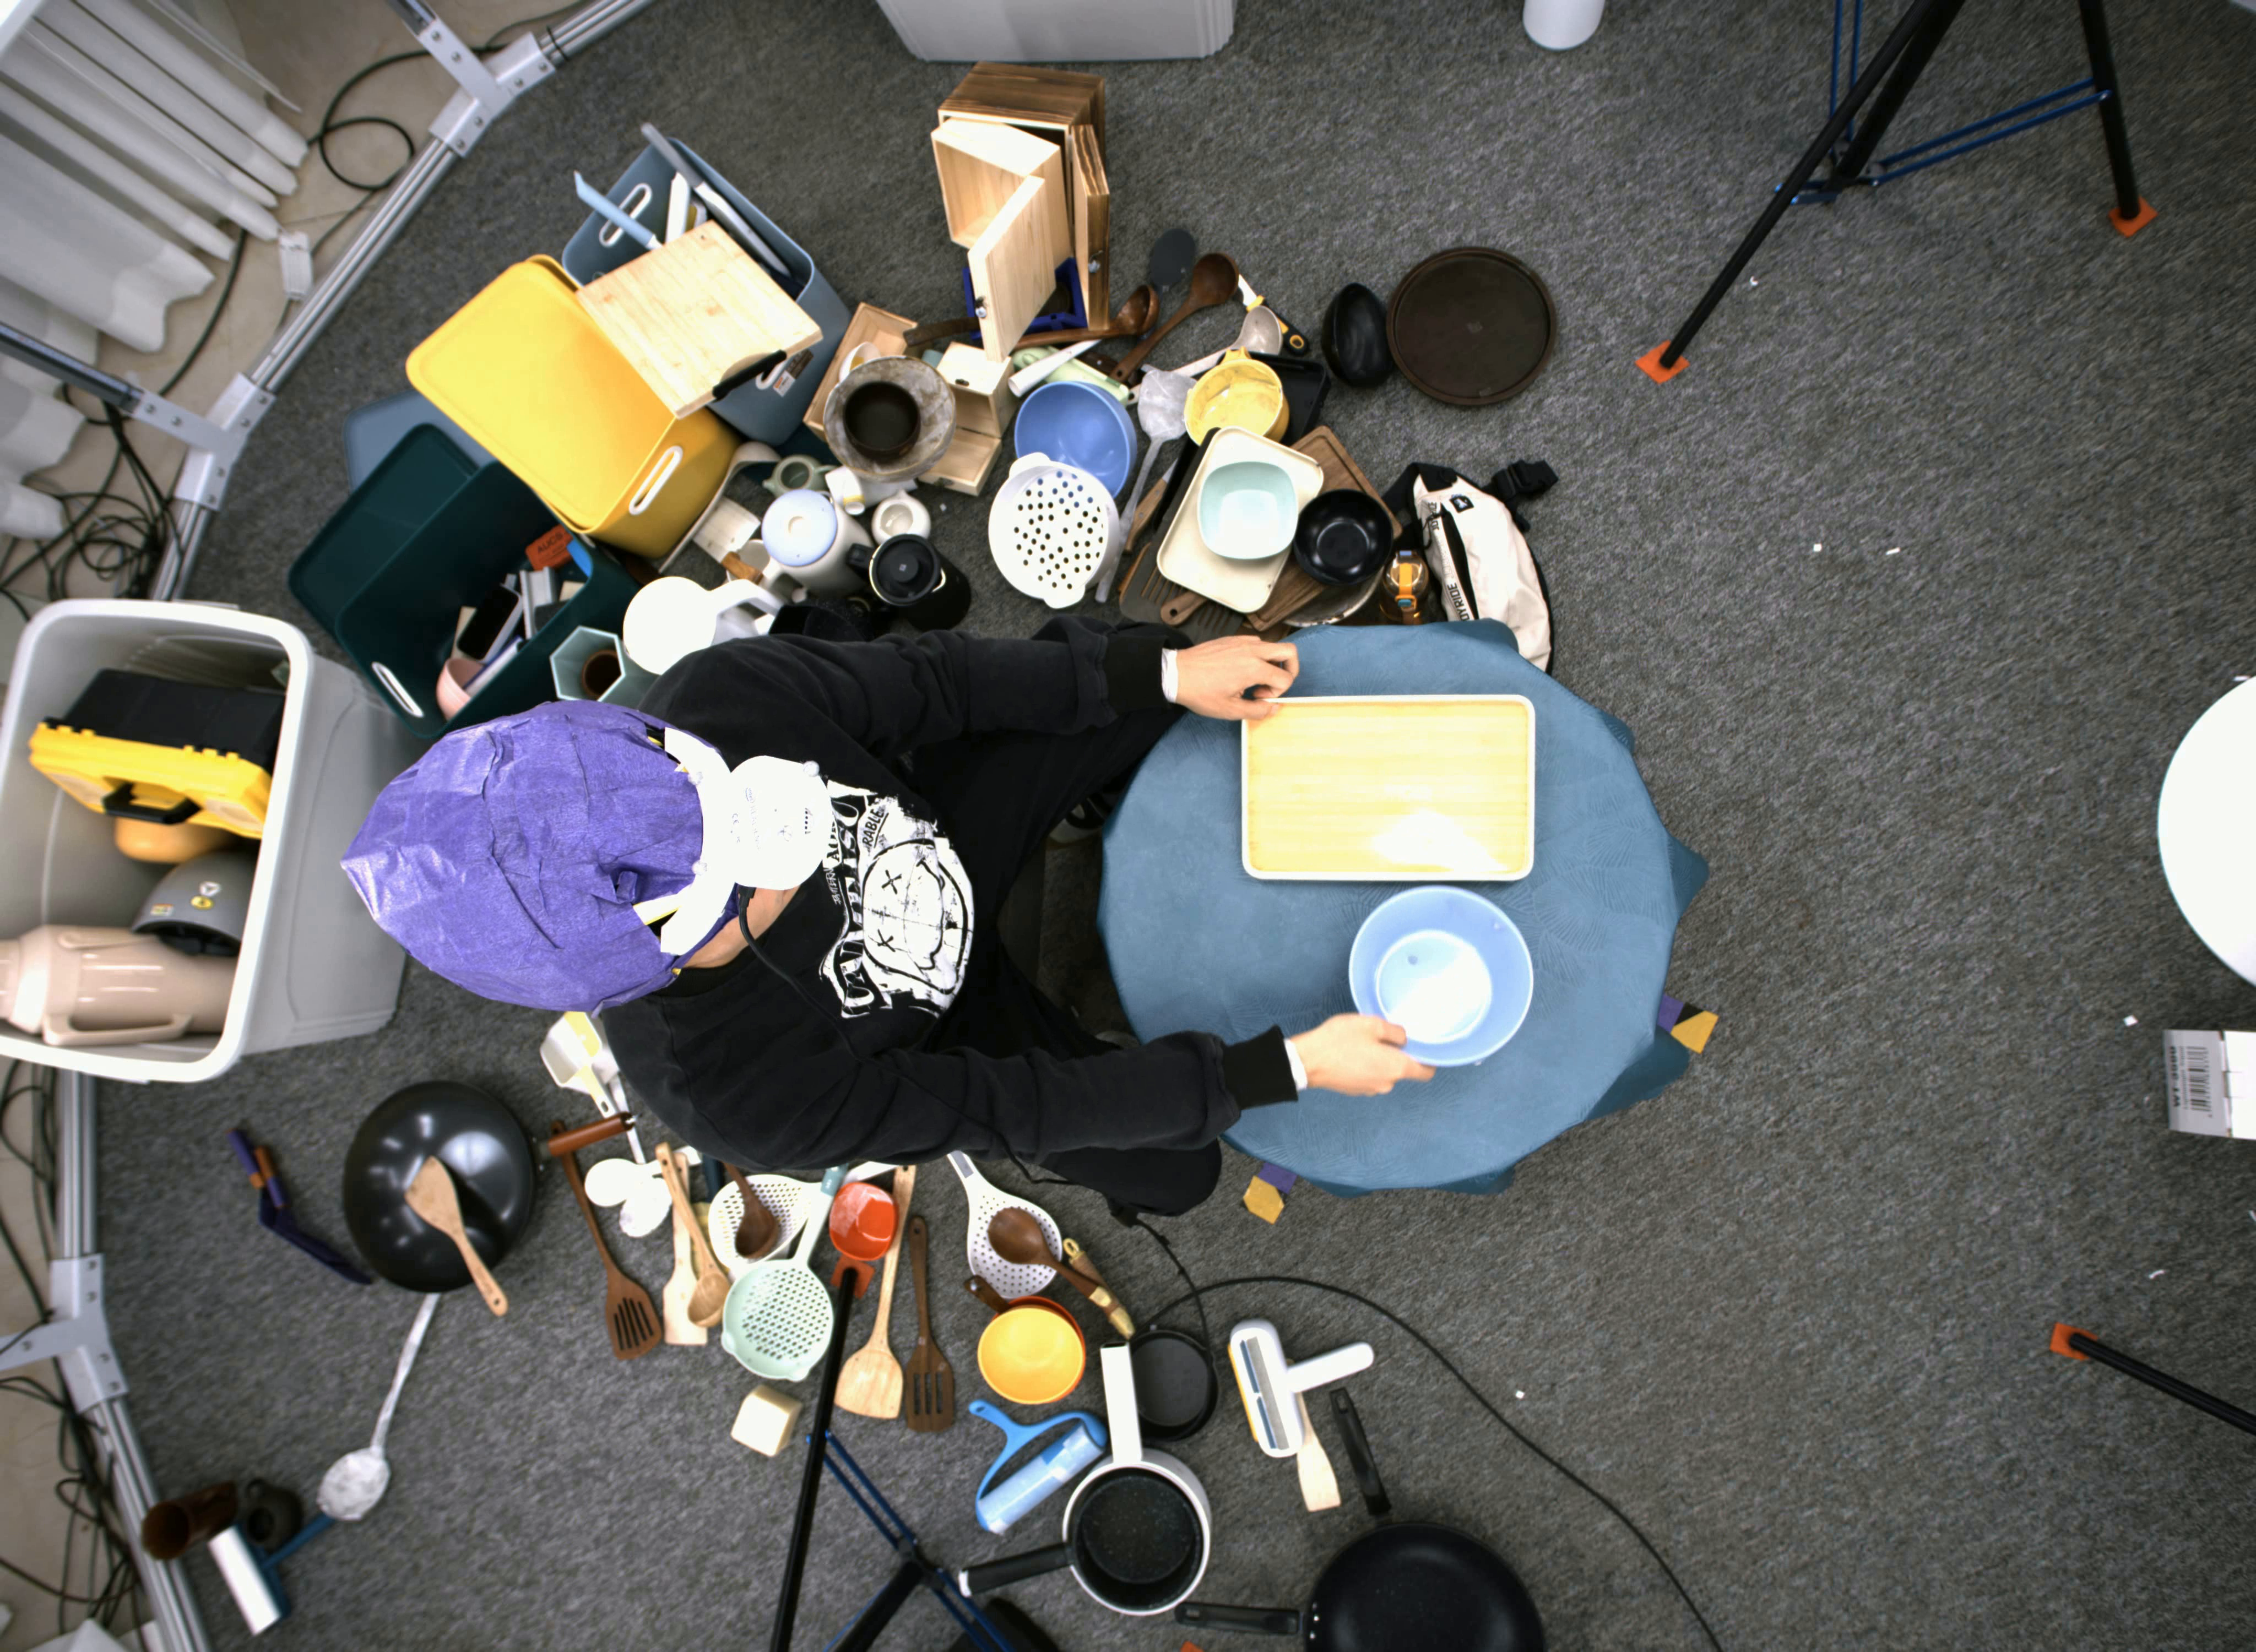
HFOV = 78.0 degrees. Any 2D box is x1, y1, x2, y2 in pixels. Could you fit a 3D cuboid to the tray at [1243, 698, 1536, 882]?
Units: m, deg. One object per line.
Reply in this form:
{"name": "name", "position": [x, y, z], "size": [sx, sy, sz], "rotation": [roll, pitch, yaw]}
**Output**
{"name": "tray", "position": [0.271, -0.039, 1.443], "size": [0.301, 0.027, 0.192], "rotation": [0, 96, 10]}

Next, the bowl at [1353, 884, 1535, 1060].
{"name": "bowl", "position": [0.307, 0.149, 1.363], "size": [0.176, 0.071, 0.173], "rotation": [-2, 72, 4]}
